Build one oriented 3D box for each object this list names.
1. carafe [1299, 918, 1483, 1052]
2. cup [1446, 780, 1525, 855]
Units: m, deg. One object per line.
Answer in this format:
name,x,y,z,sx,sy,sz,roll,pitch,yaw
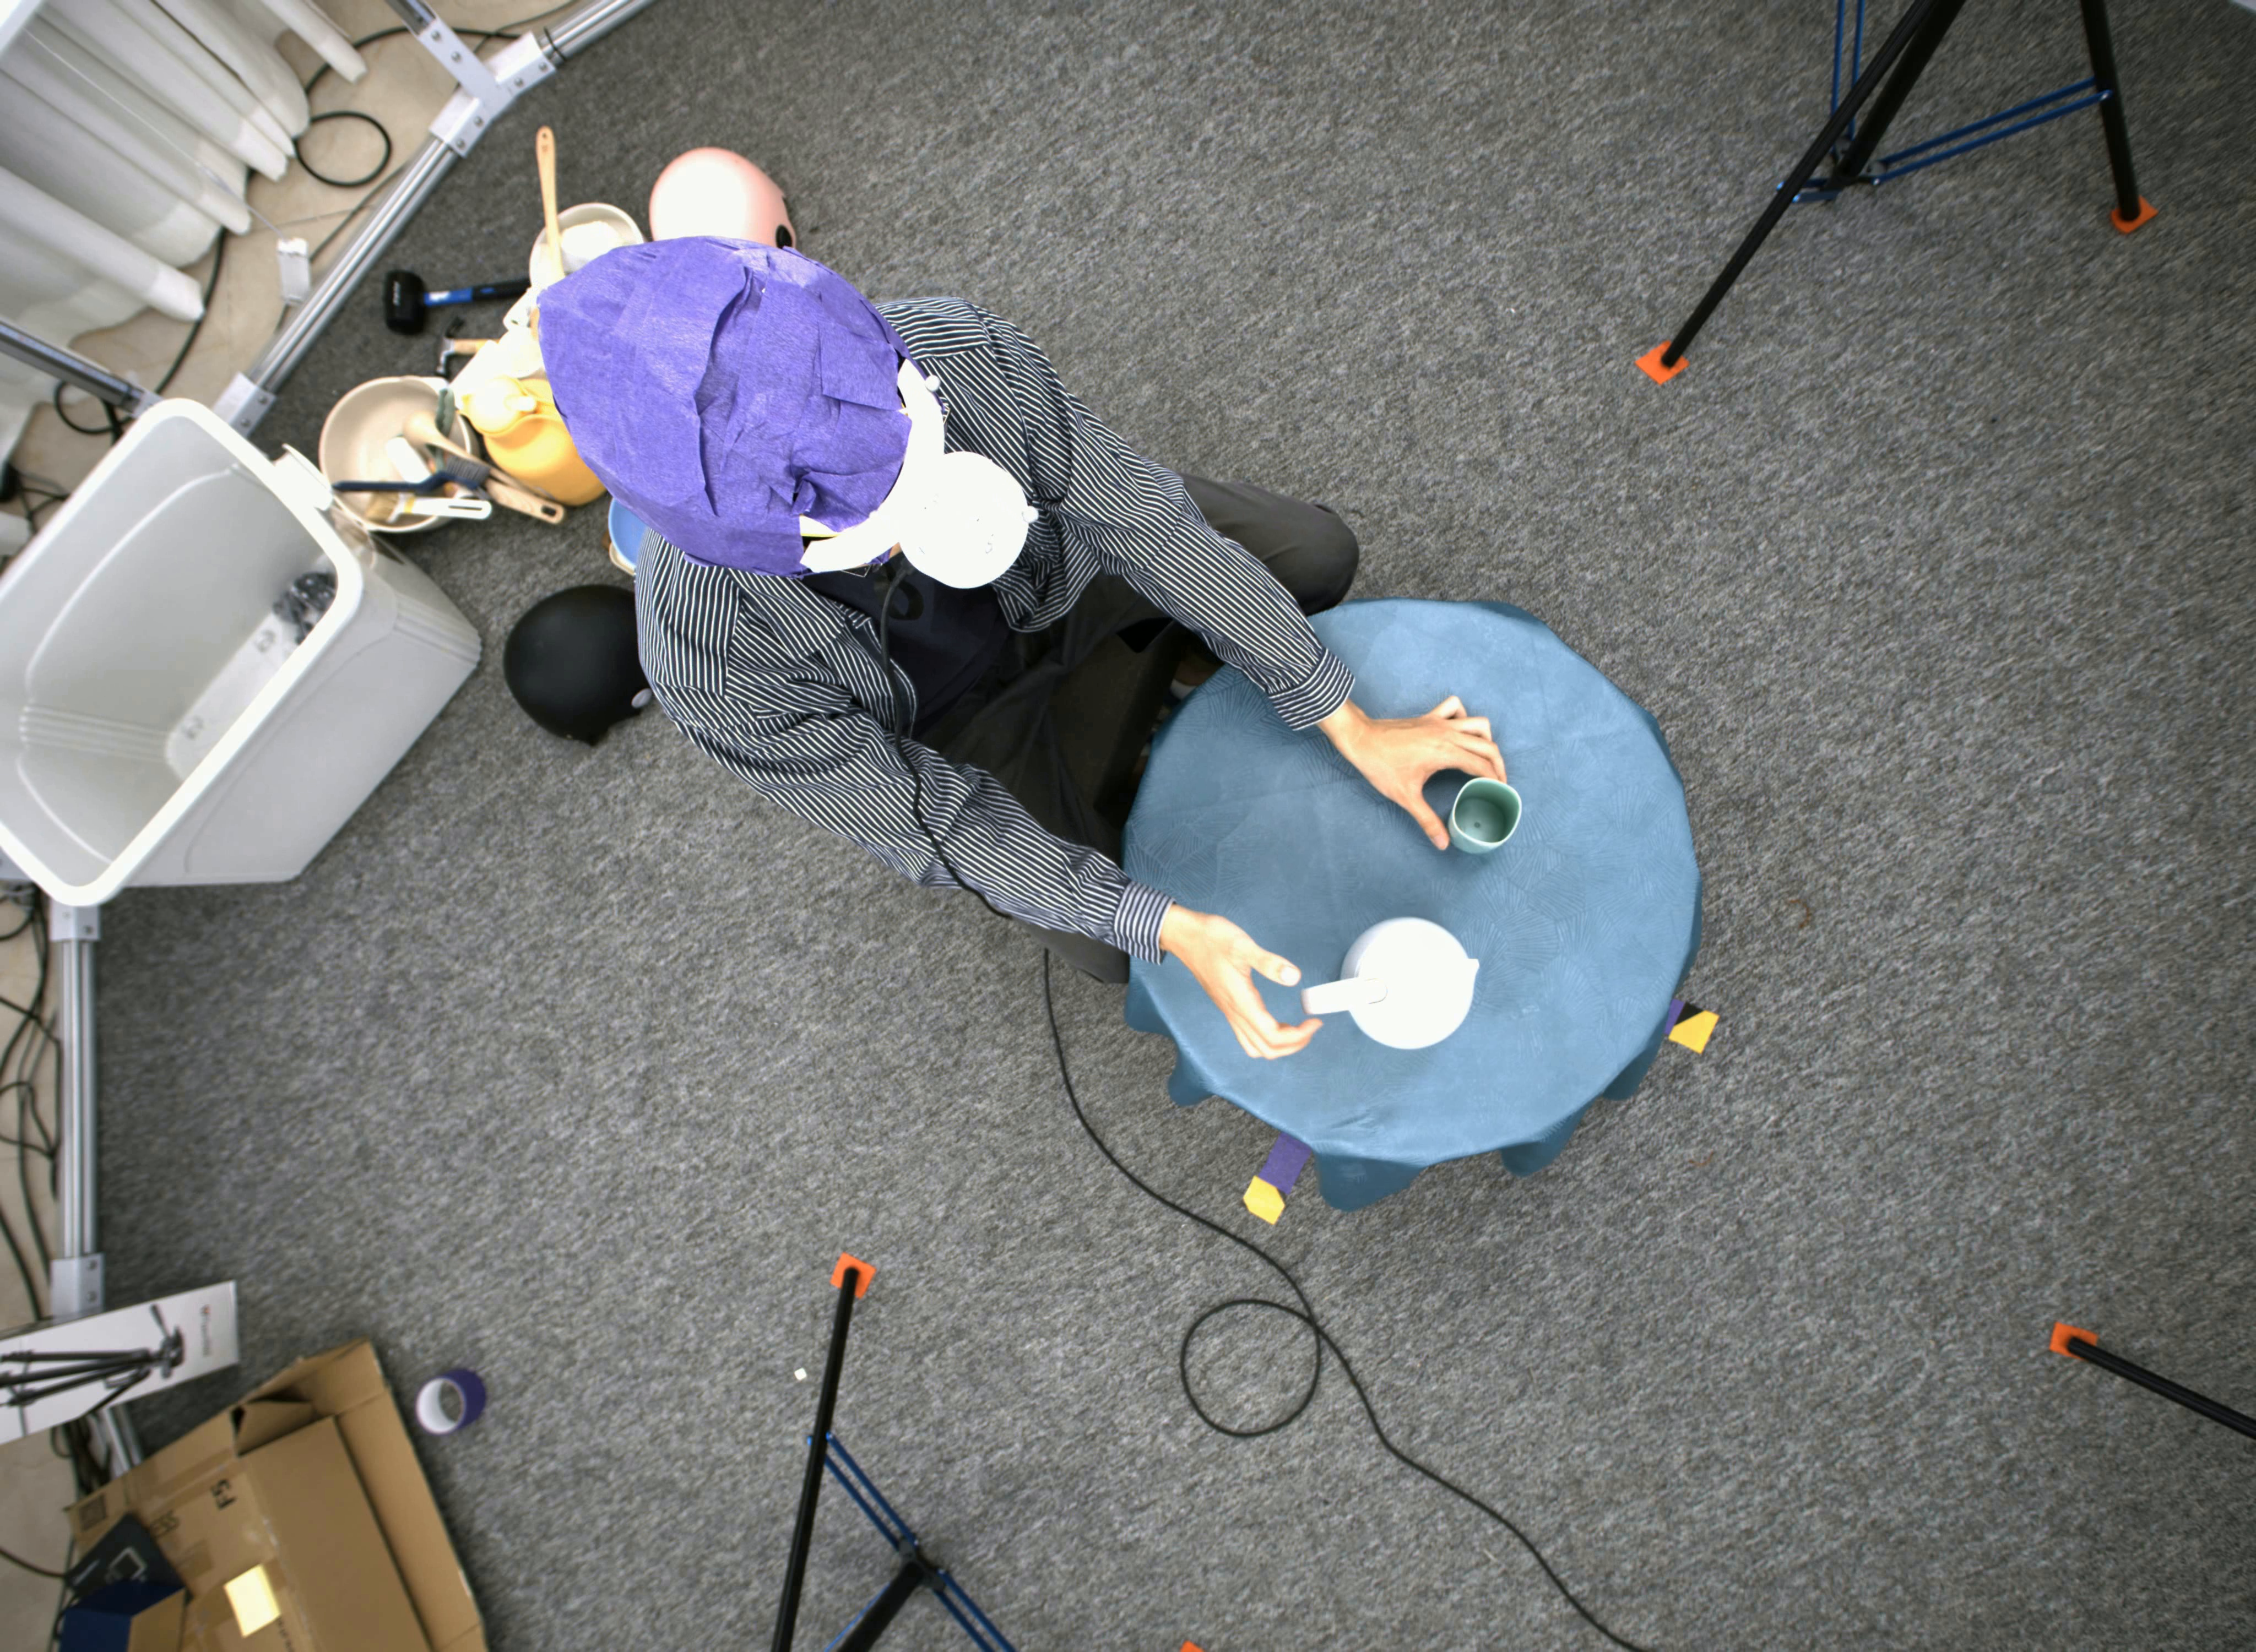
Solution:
carafe,0.248,0.157,1.319,0.168,0.248,0.132,-15,84,9
cup,0.354,-0.009,1.374,0.067,0.132,0.066,-1,86,9
